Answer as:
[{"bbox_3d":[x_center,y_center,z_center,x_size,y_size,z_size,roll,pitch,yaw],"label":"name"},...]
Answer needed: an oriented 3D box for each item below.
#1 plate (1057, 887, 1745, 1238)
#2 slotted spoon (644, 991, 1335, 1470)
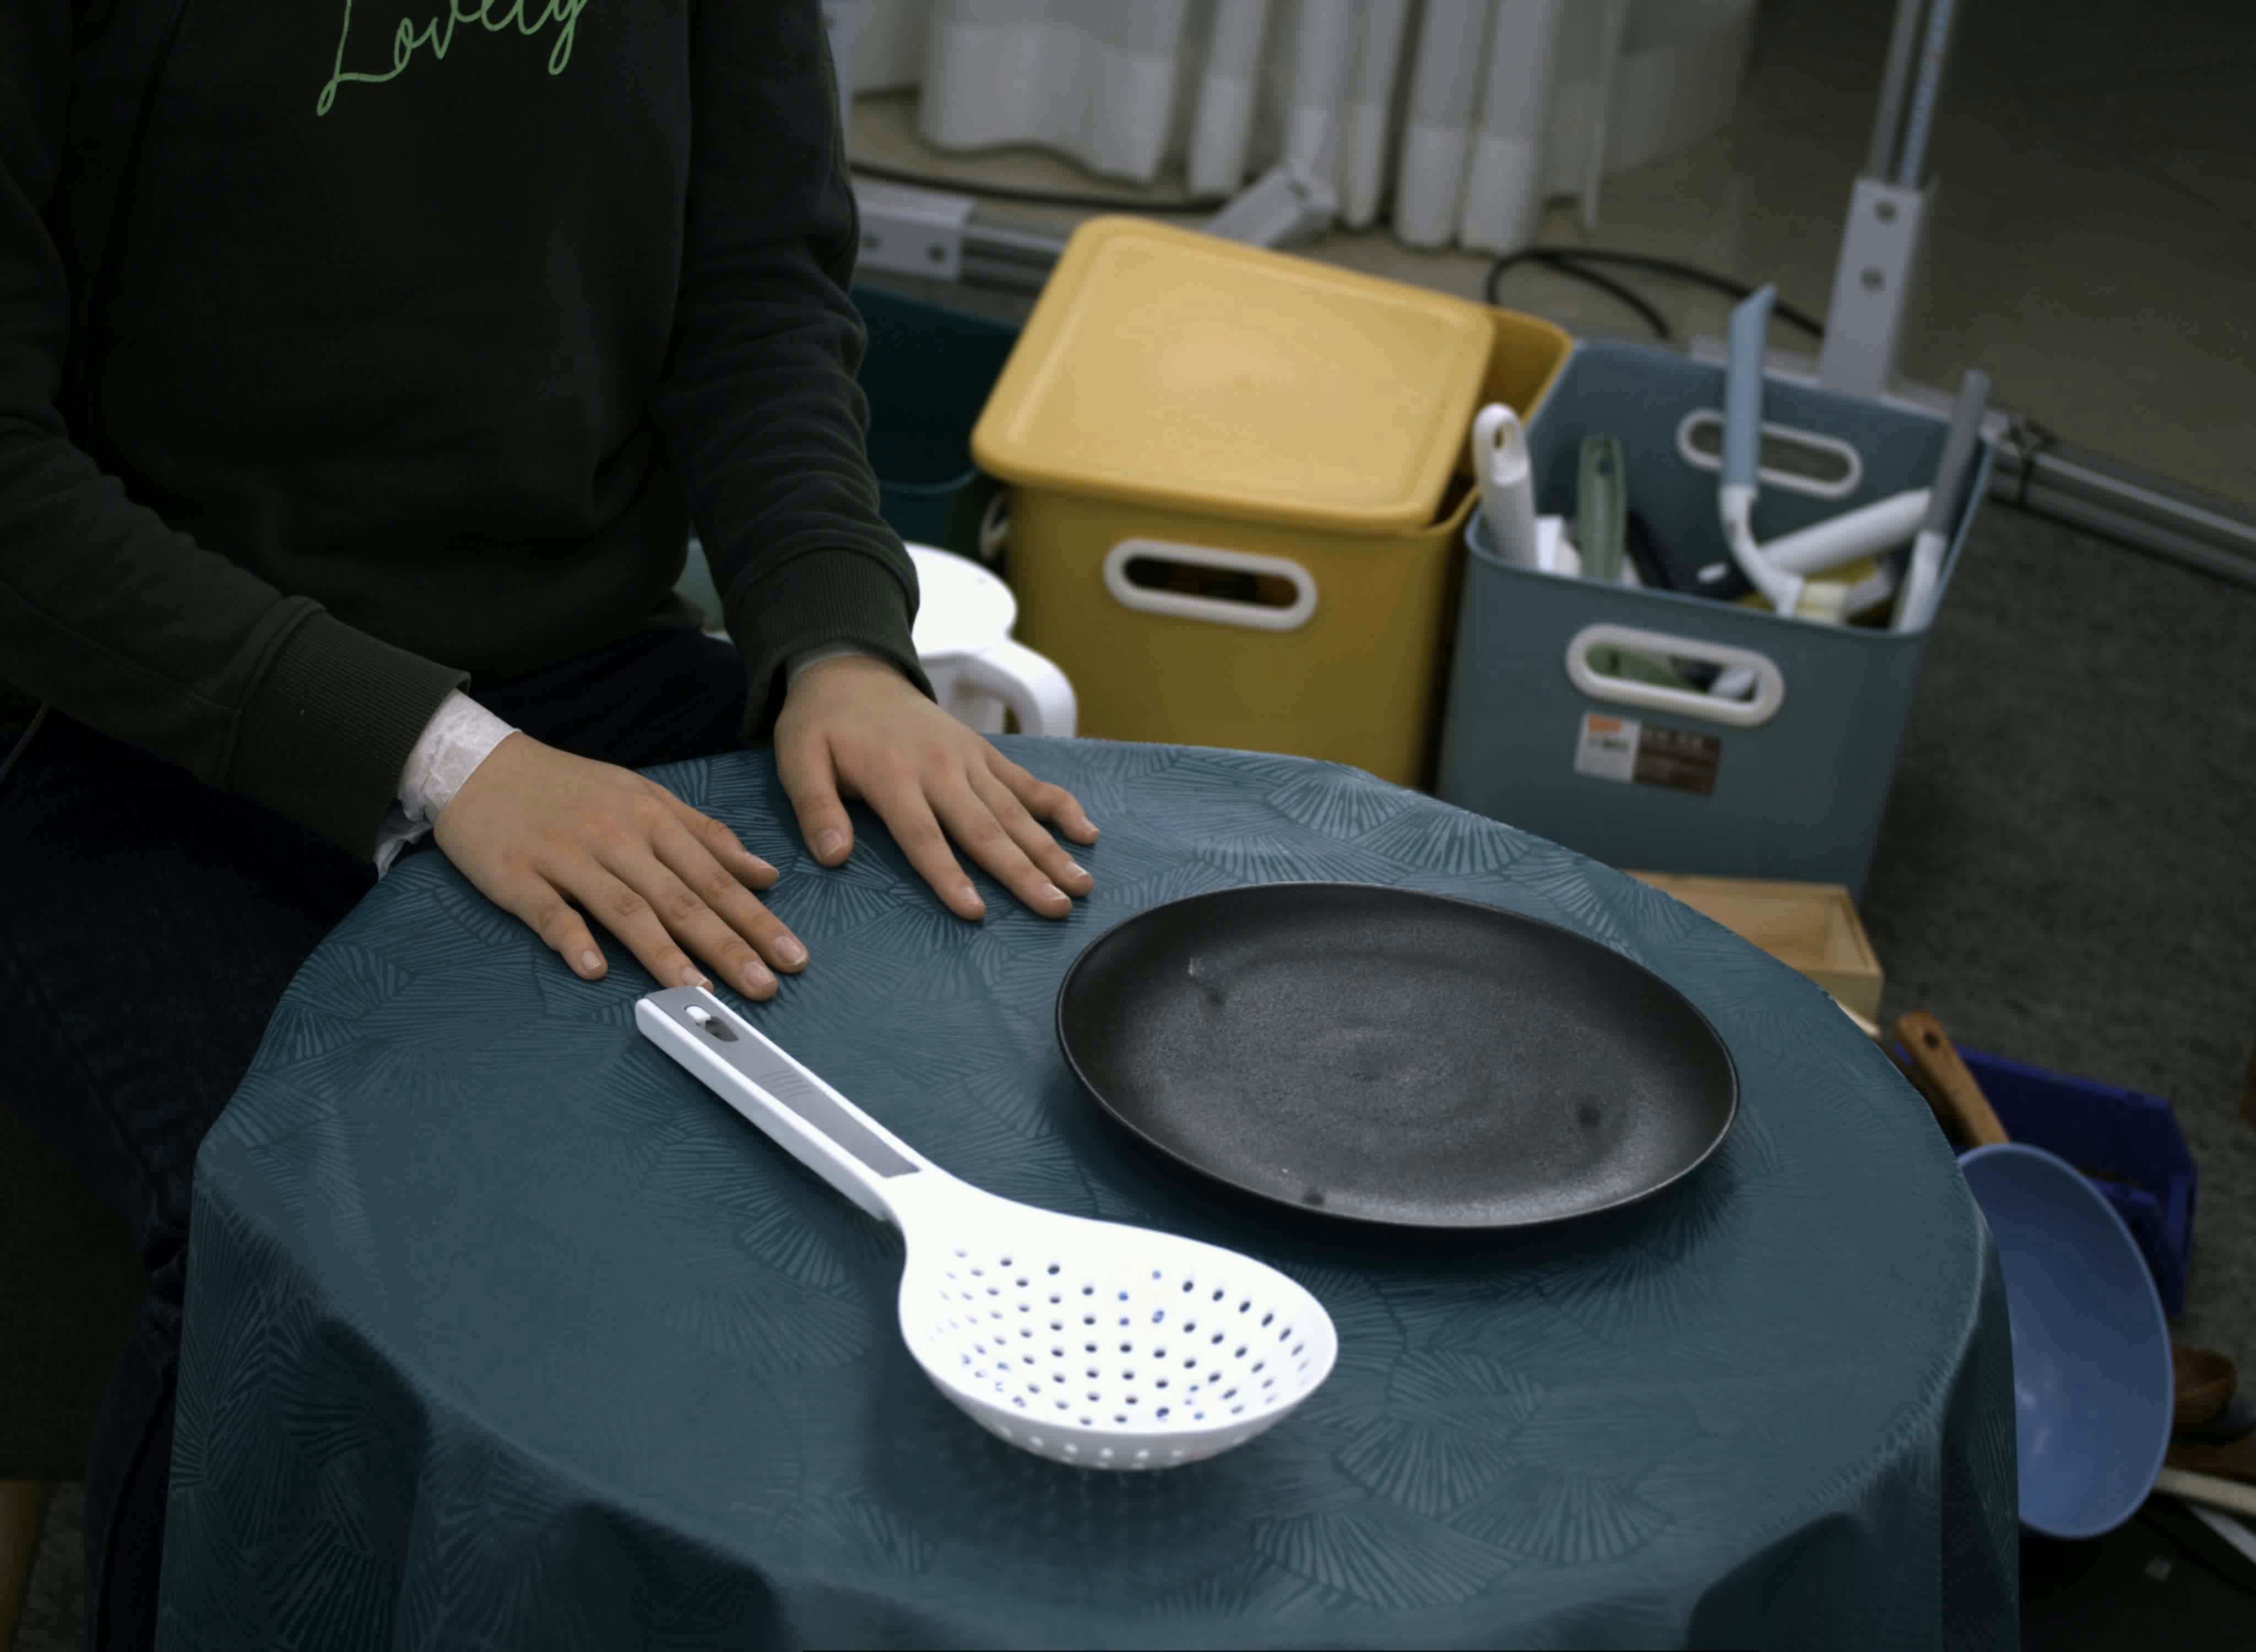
[{"bbox_3d":[0.095,0.087,1.869,0.243,0.023,0.246,5,27,-3],"label":"plate"},{"bbox_3d":[-0.064,0.125,1.733,0.135,0.045,0.353,-9,30,-33],"label":"slotted spoon"}]
